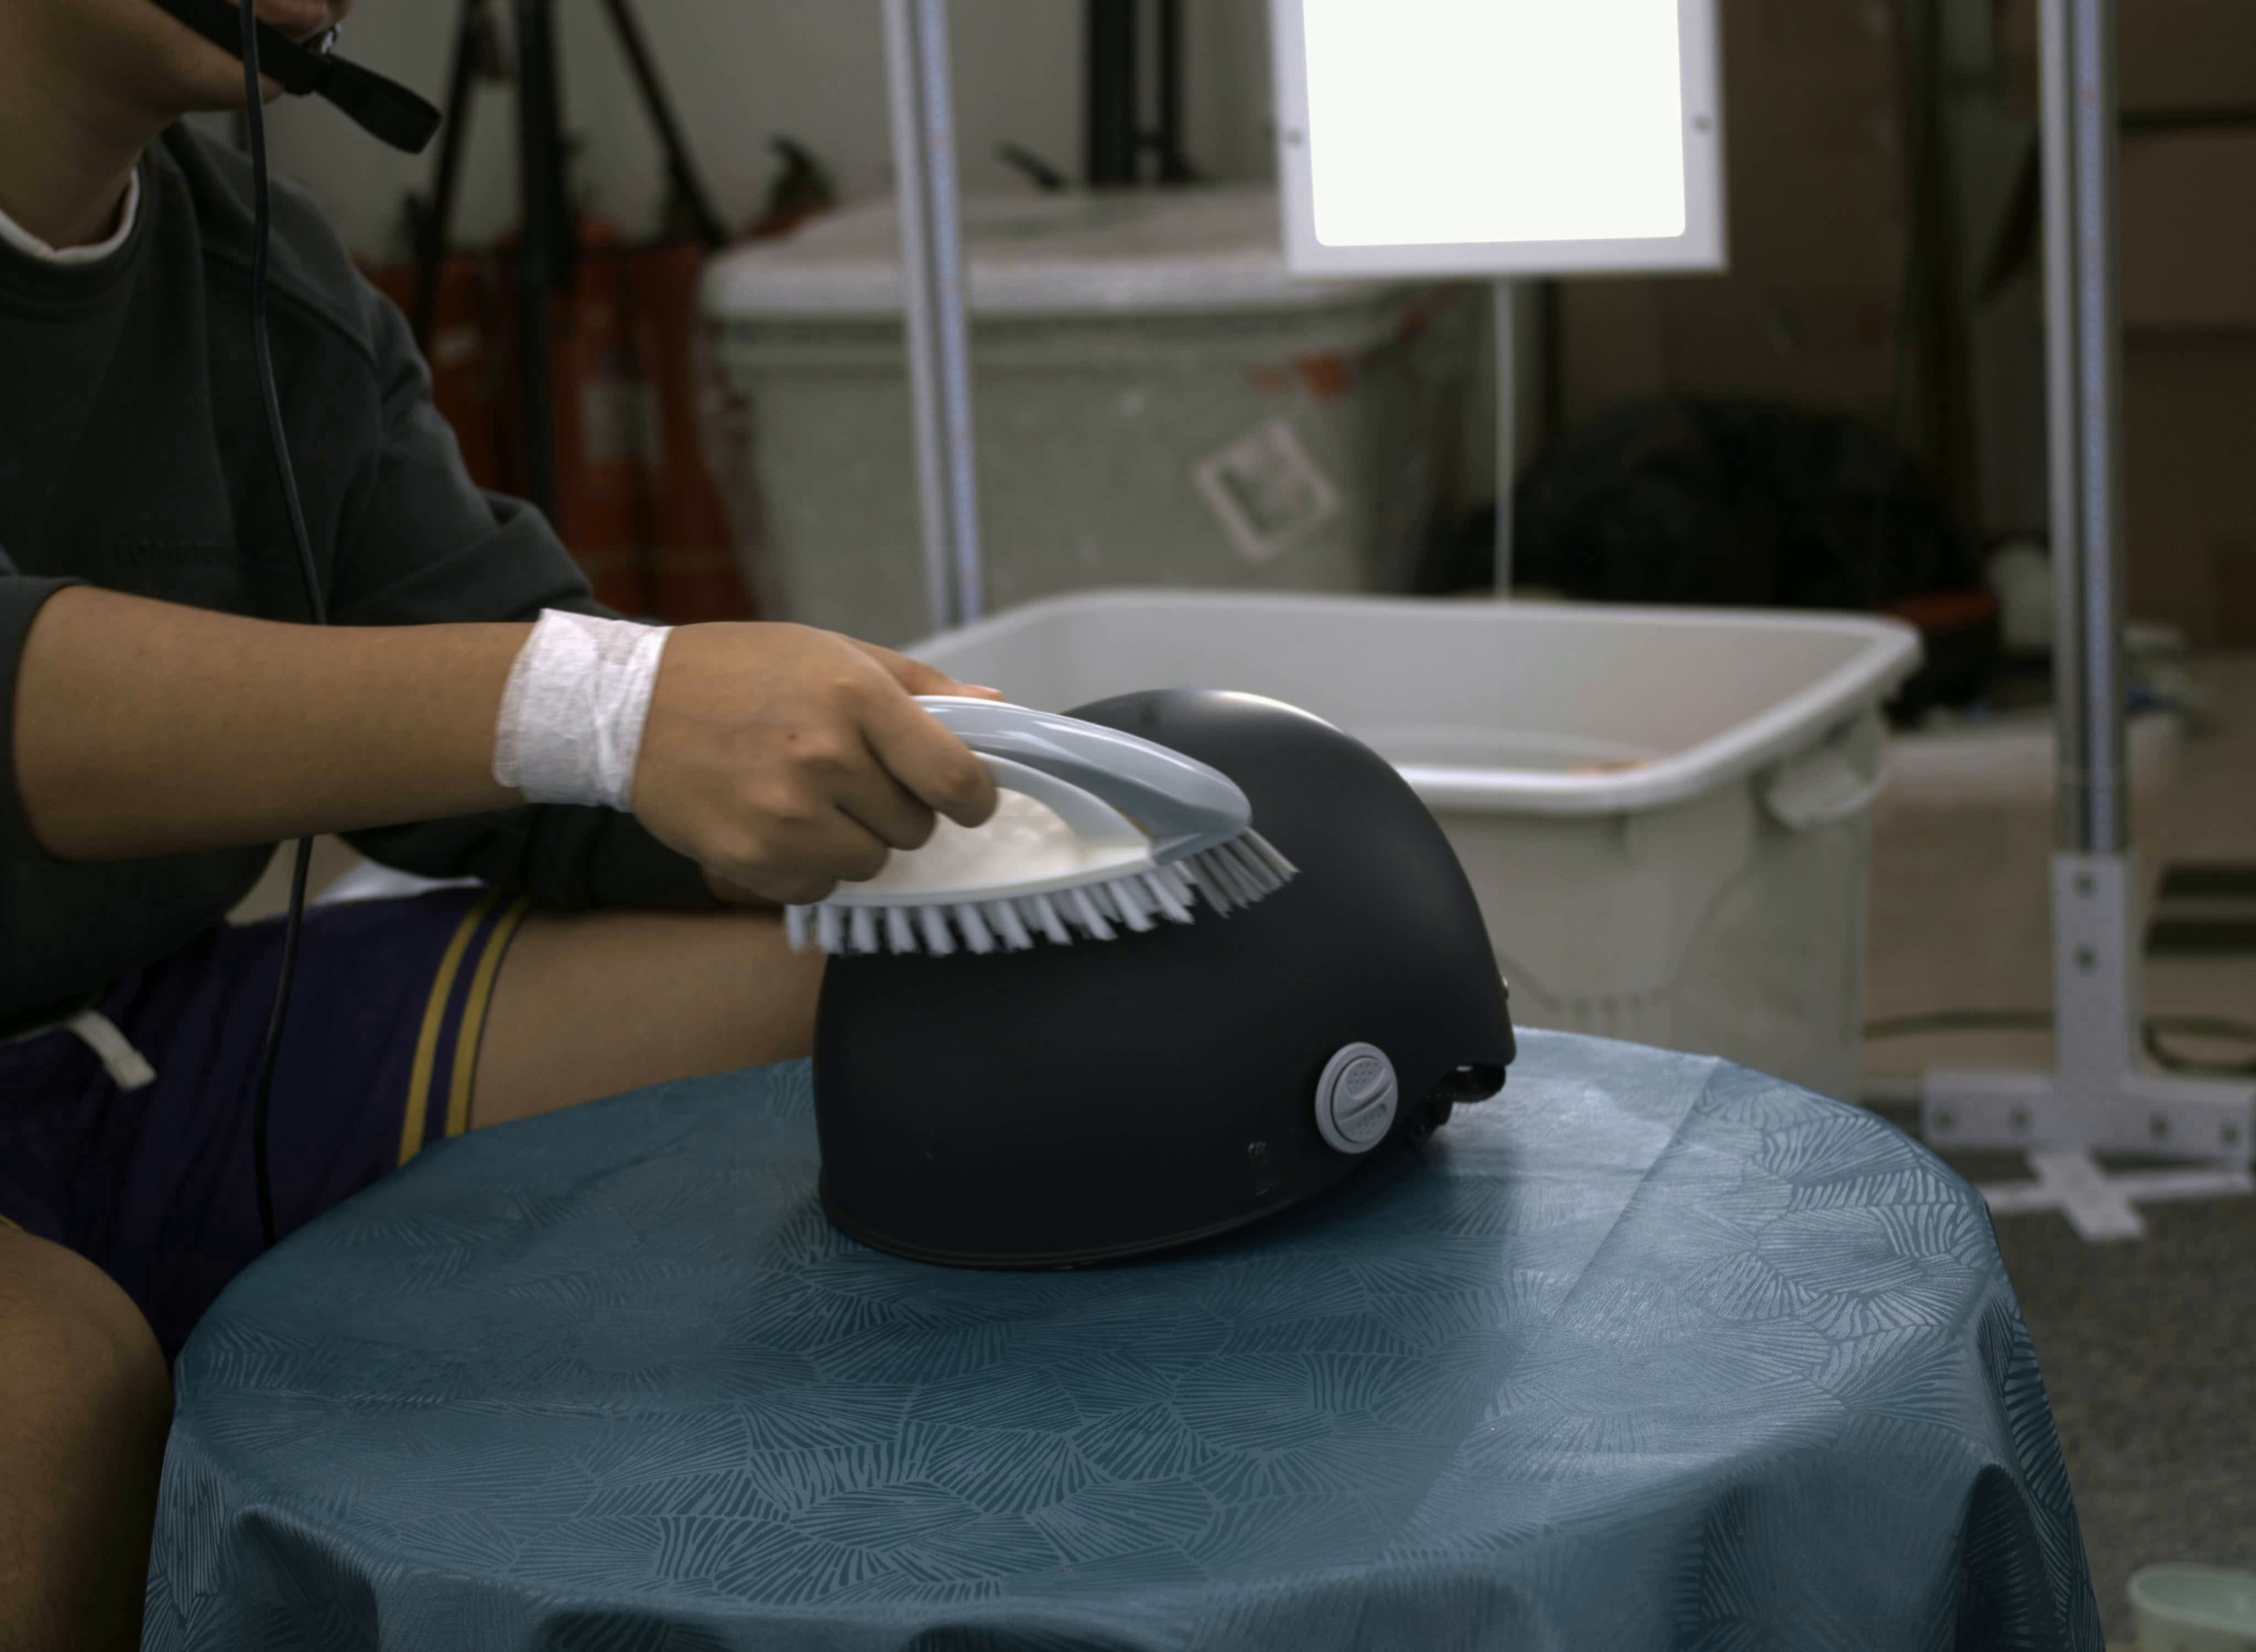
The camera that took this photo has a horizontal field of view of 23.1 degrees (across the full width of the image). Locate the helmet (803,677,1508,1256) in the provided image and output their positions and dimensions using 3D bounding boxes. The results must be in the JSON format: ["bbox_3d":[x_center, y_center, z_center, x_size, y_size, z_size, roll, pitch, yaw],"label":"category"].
[{"bbox_3d":[0.004,0.038,1.920,0.235,0.167,0.266,5,19,38],"label":"helmet"}]

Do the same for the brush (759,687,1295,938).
[{"bbox_3d":[-0.038,-0.012,1.799,0.178,0.093,0.061,2,55,22],"label":"brush"}]
